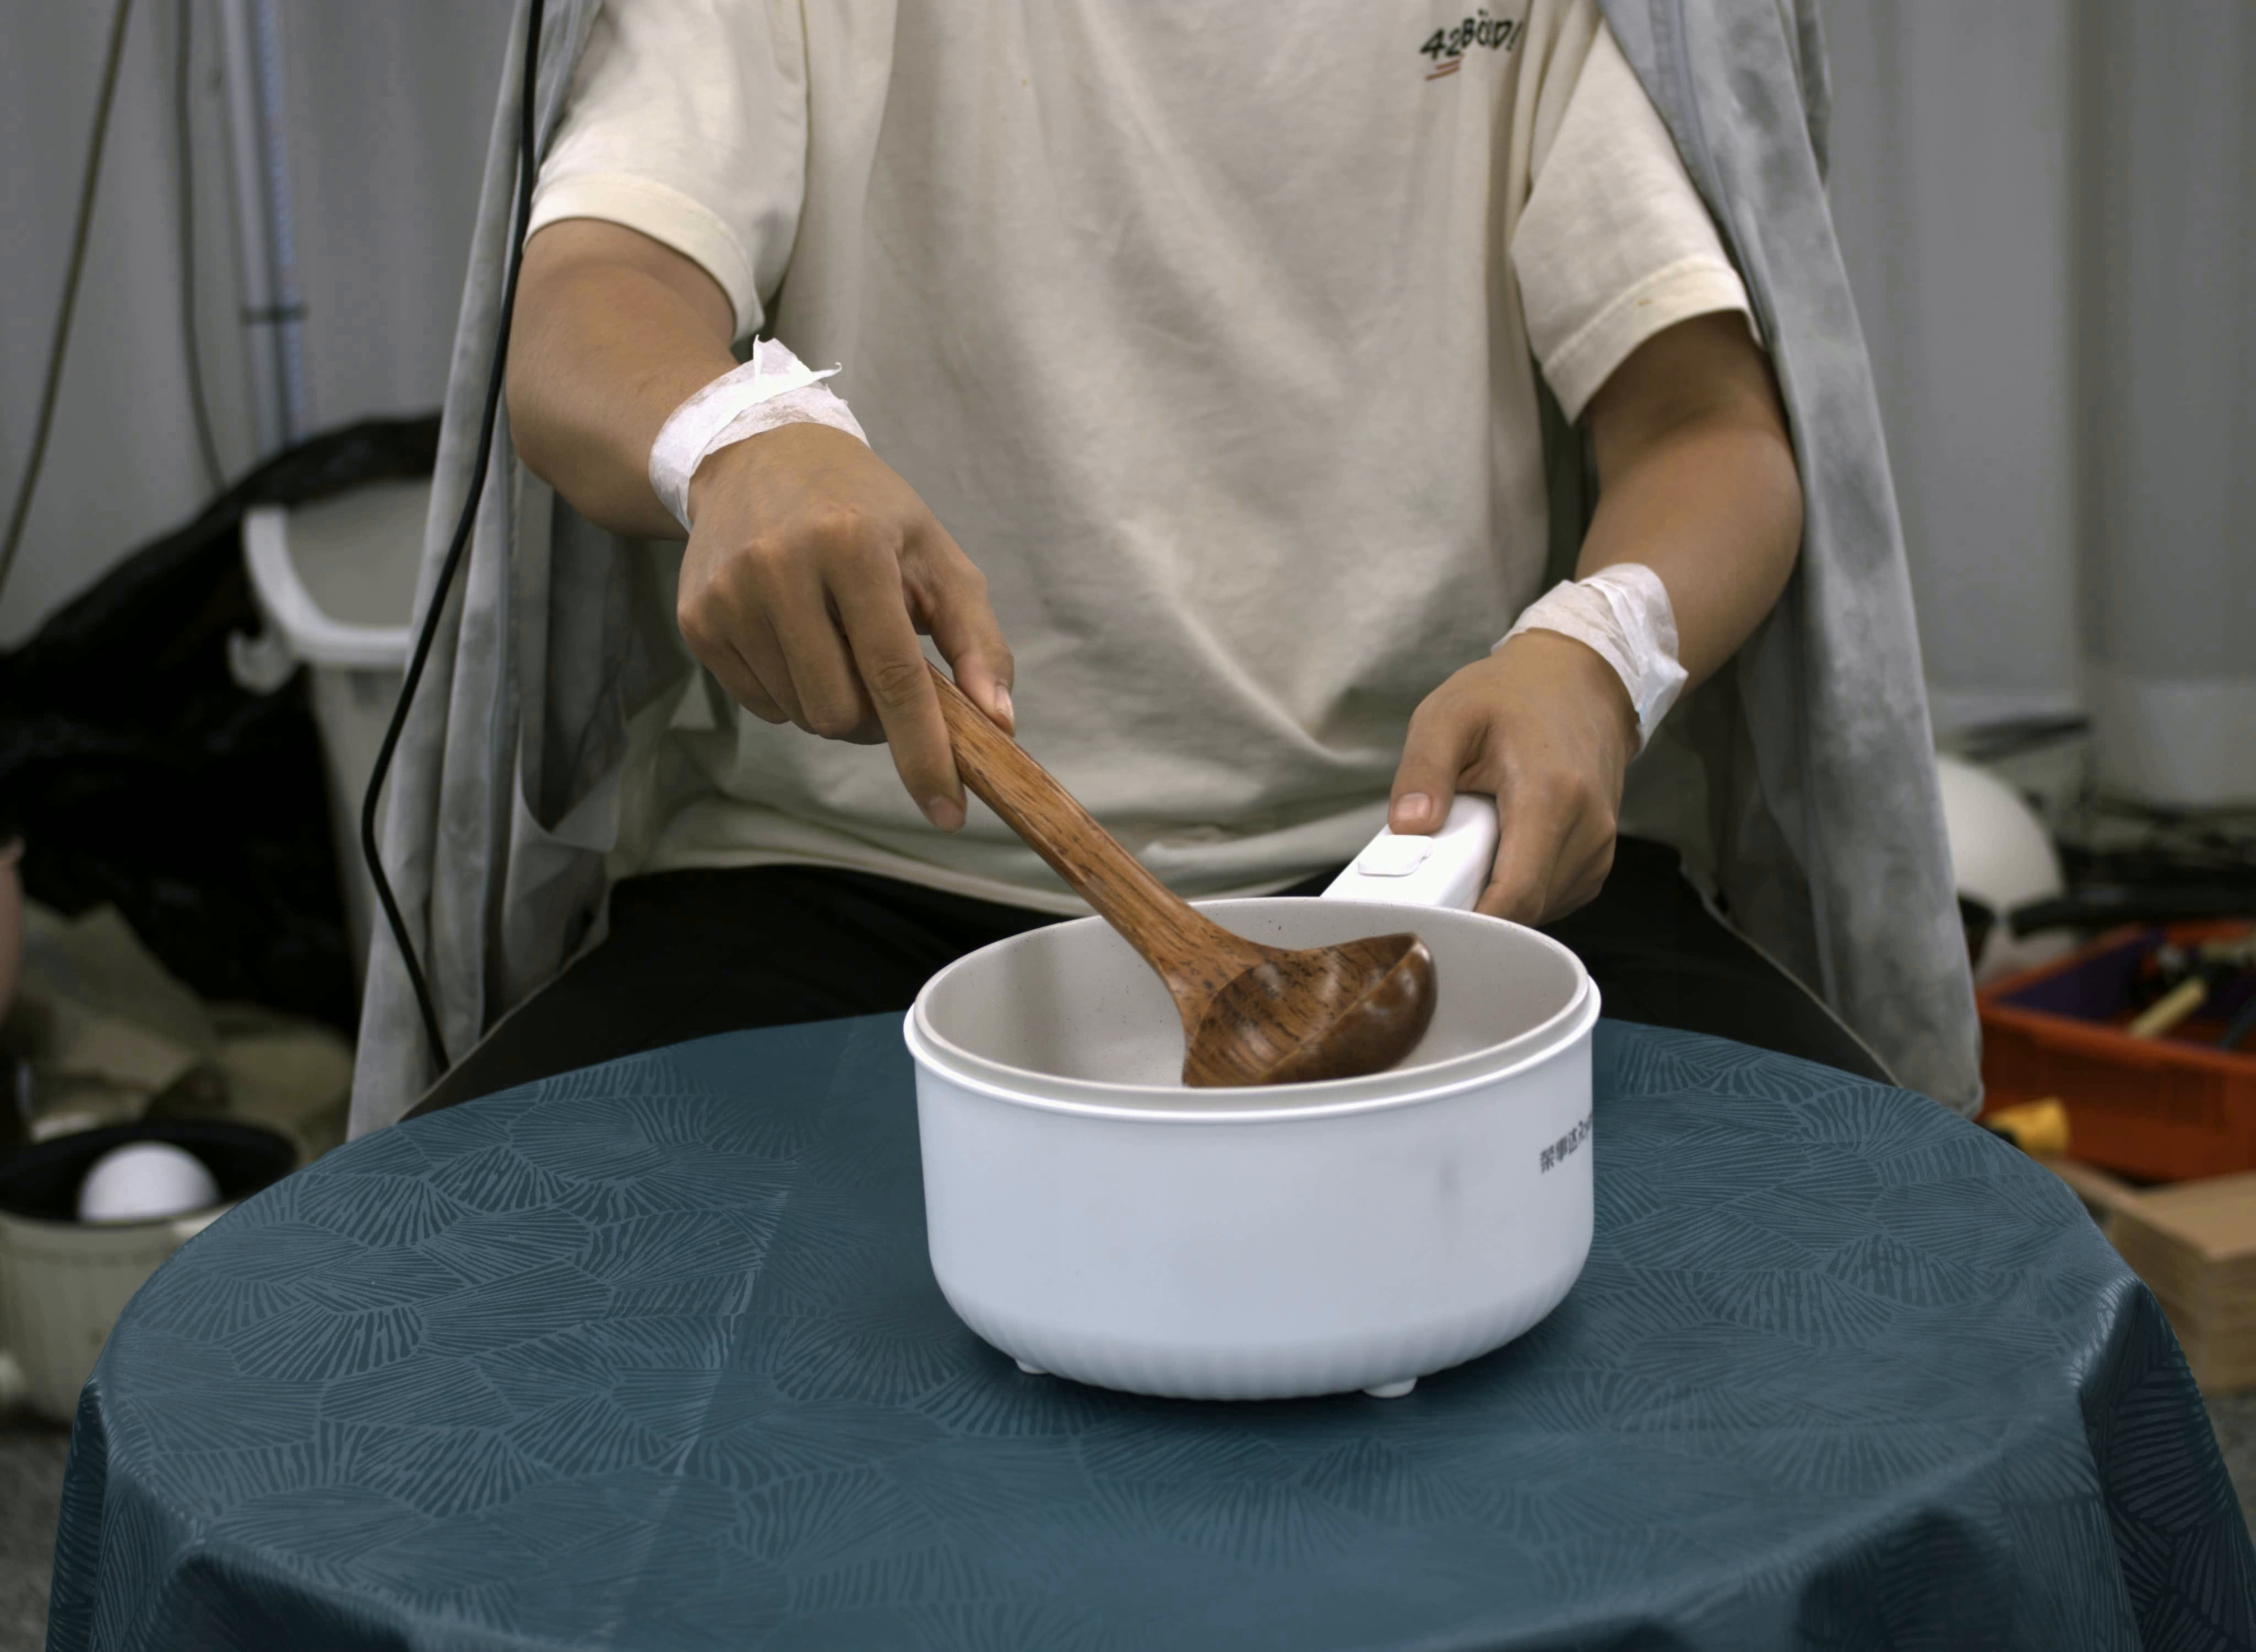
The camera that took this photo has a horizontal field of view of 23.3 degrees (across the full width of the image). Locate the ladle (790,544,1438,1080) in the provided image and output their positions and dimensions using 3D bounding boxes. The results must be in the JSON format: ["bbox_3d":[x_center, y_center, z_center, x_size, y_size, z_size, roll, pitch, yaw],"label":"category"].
[{"bbox_3d":[-0.015,-0.008,1.598,0.082,0.075,0.277,-33,62,-21],"label":"ladle"}]

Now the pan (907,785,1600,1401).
[{"bbox_3d":[0.062,0.076,1.660,0.201,0.102,0.356,1,15,19],"label":"pan"}]
